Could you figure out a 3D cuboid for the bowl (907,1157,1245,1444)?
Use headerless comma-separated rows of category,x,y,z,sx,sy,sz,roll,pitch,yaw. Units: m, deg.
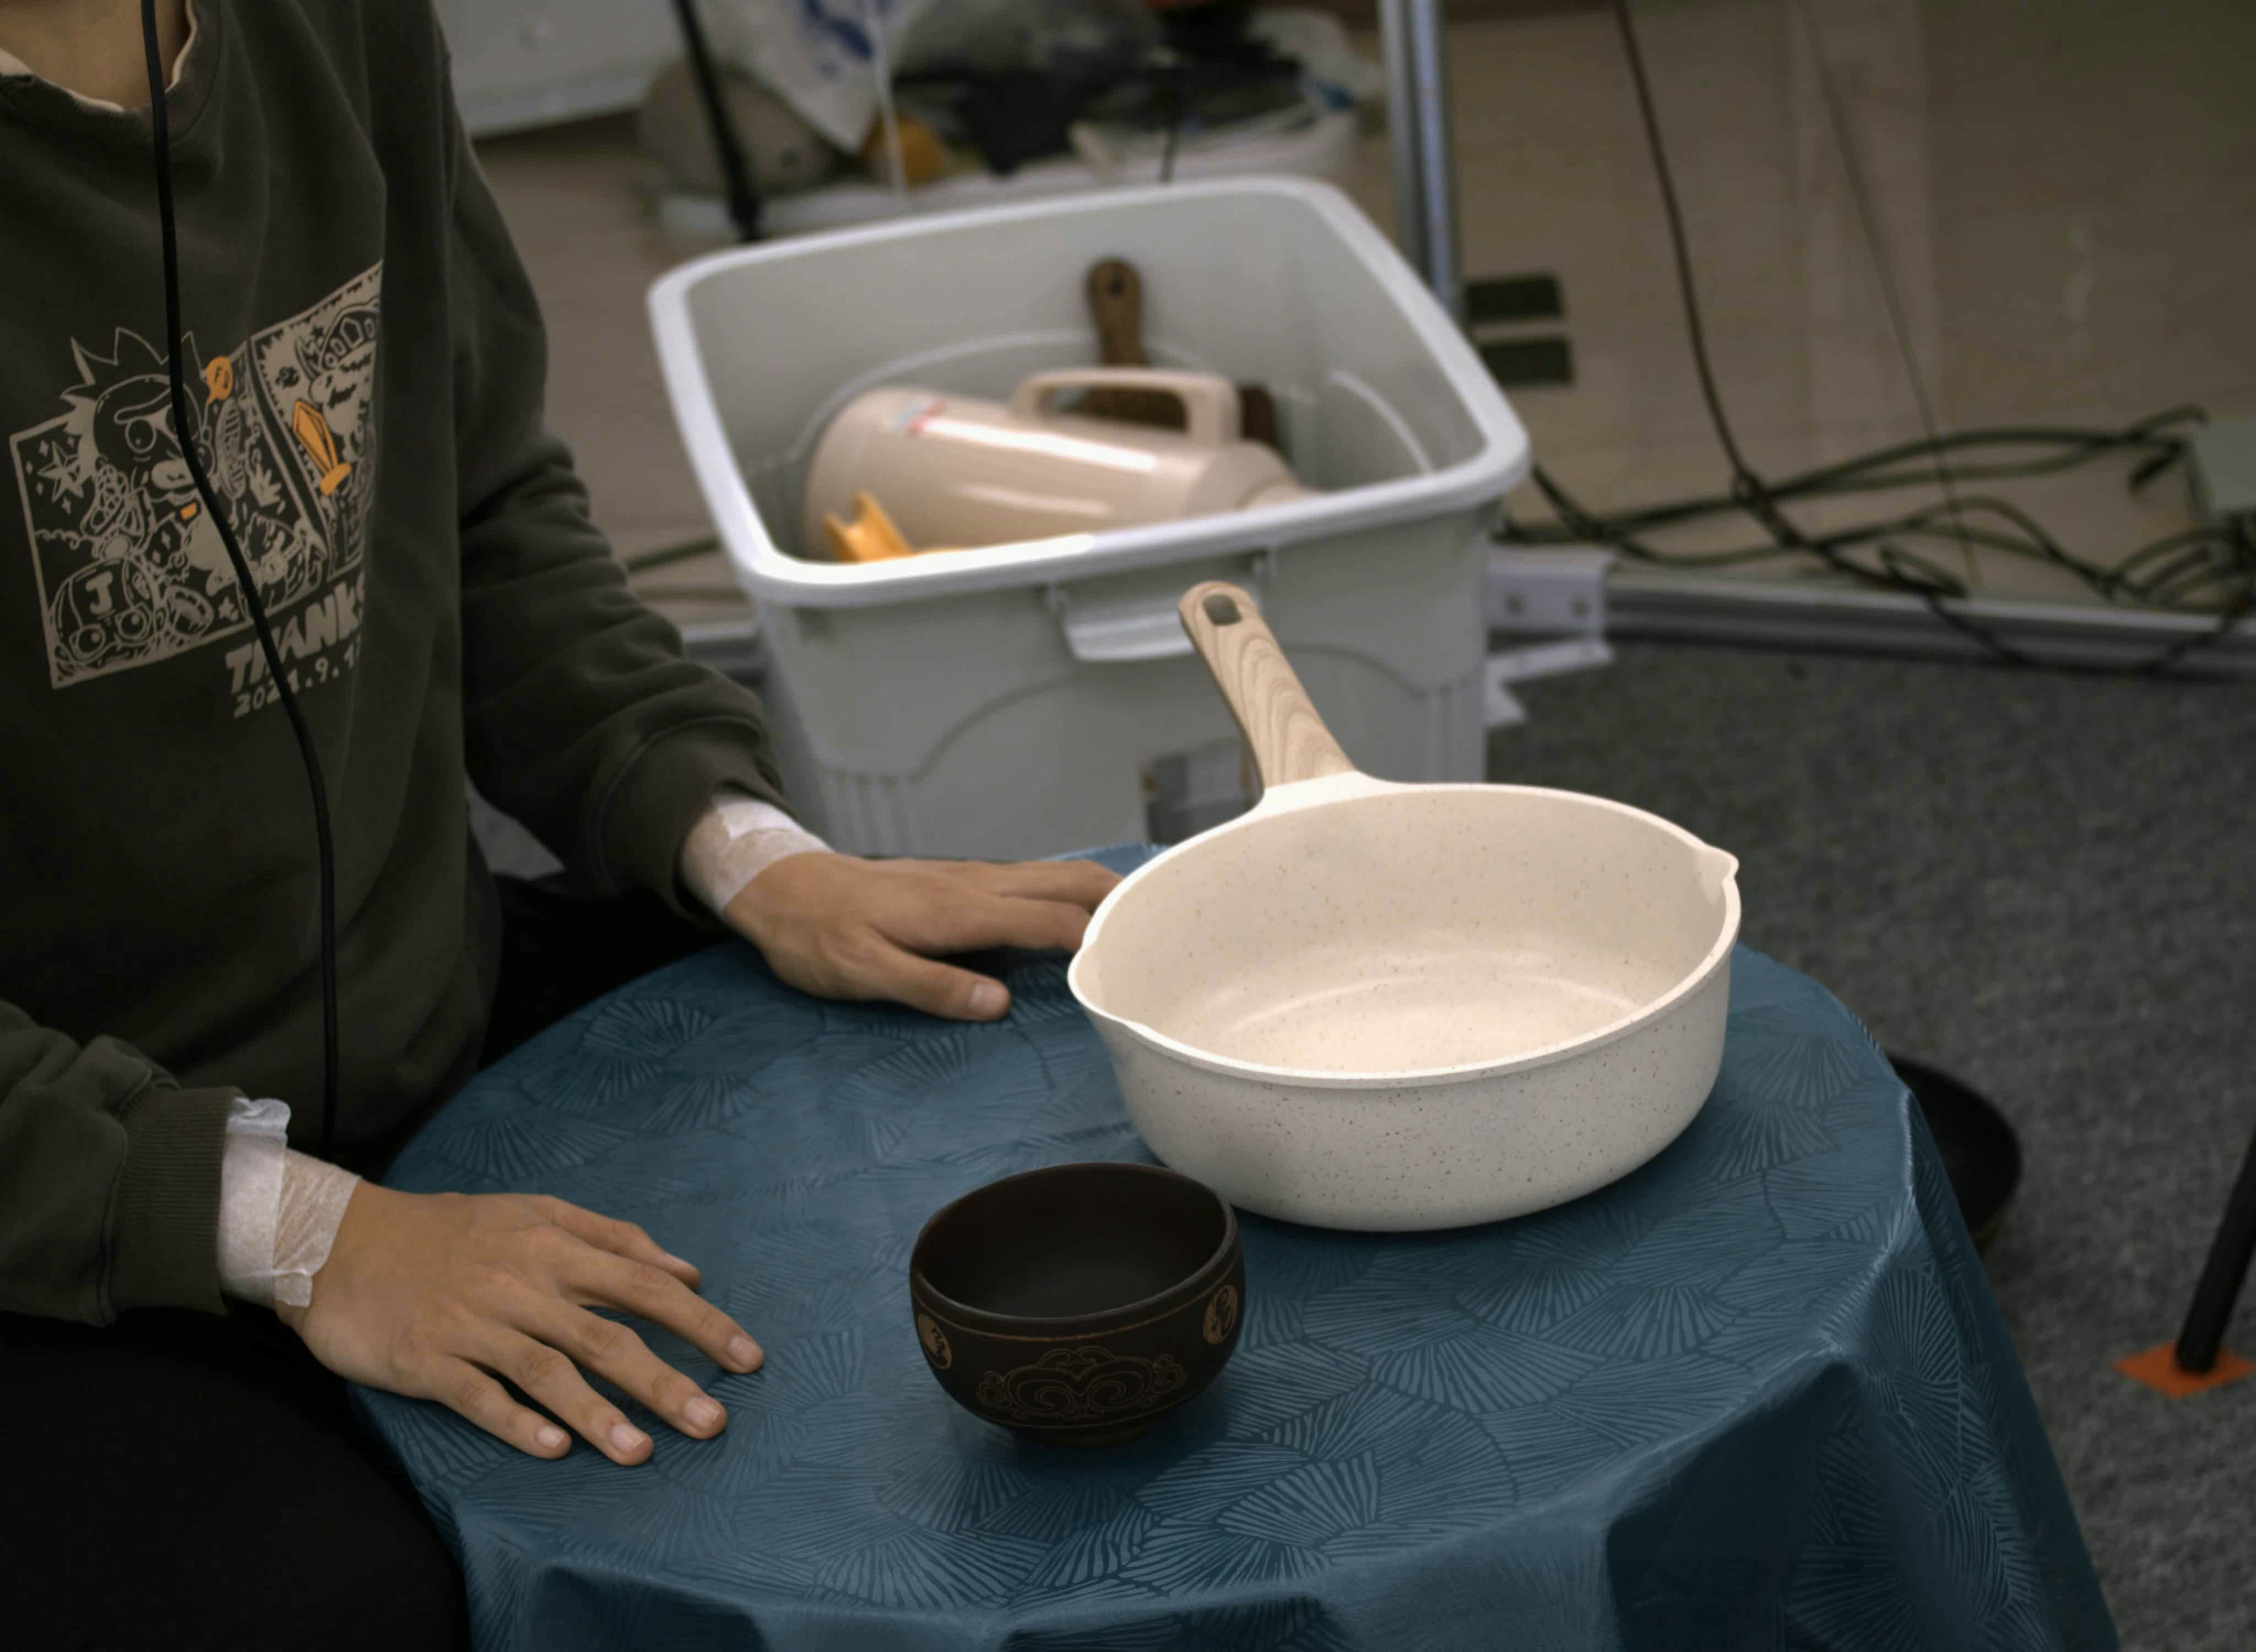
bowl,-0.016,0.173,1.991,0.118,0.071,0.116,-5,27,3

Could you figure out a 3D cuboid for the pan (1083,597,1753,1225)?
pan,0.093,0.029,2.241,0.263,0.103,0.429,-13,25,-9
